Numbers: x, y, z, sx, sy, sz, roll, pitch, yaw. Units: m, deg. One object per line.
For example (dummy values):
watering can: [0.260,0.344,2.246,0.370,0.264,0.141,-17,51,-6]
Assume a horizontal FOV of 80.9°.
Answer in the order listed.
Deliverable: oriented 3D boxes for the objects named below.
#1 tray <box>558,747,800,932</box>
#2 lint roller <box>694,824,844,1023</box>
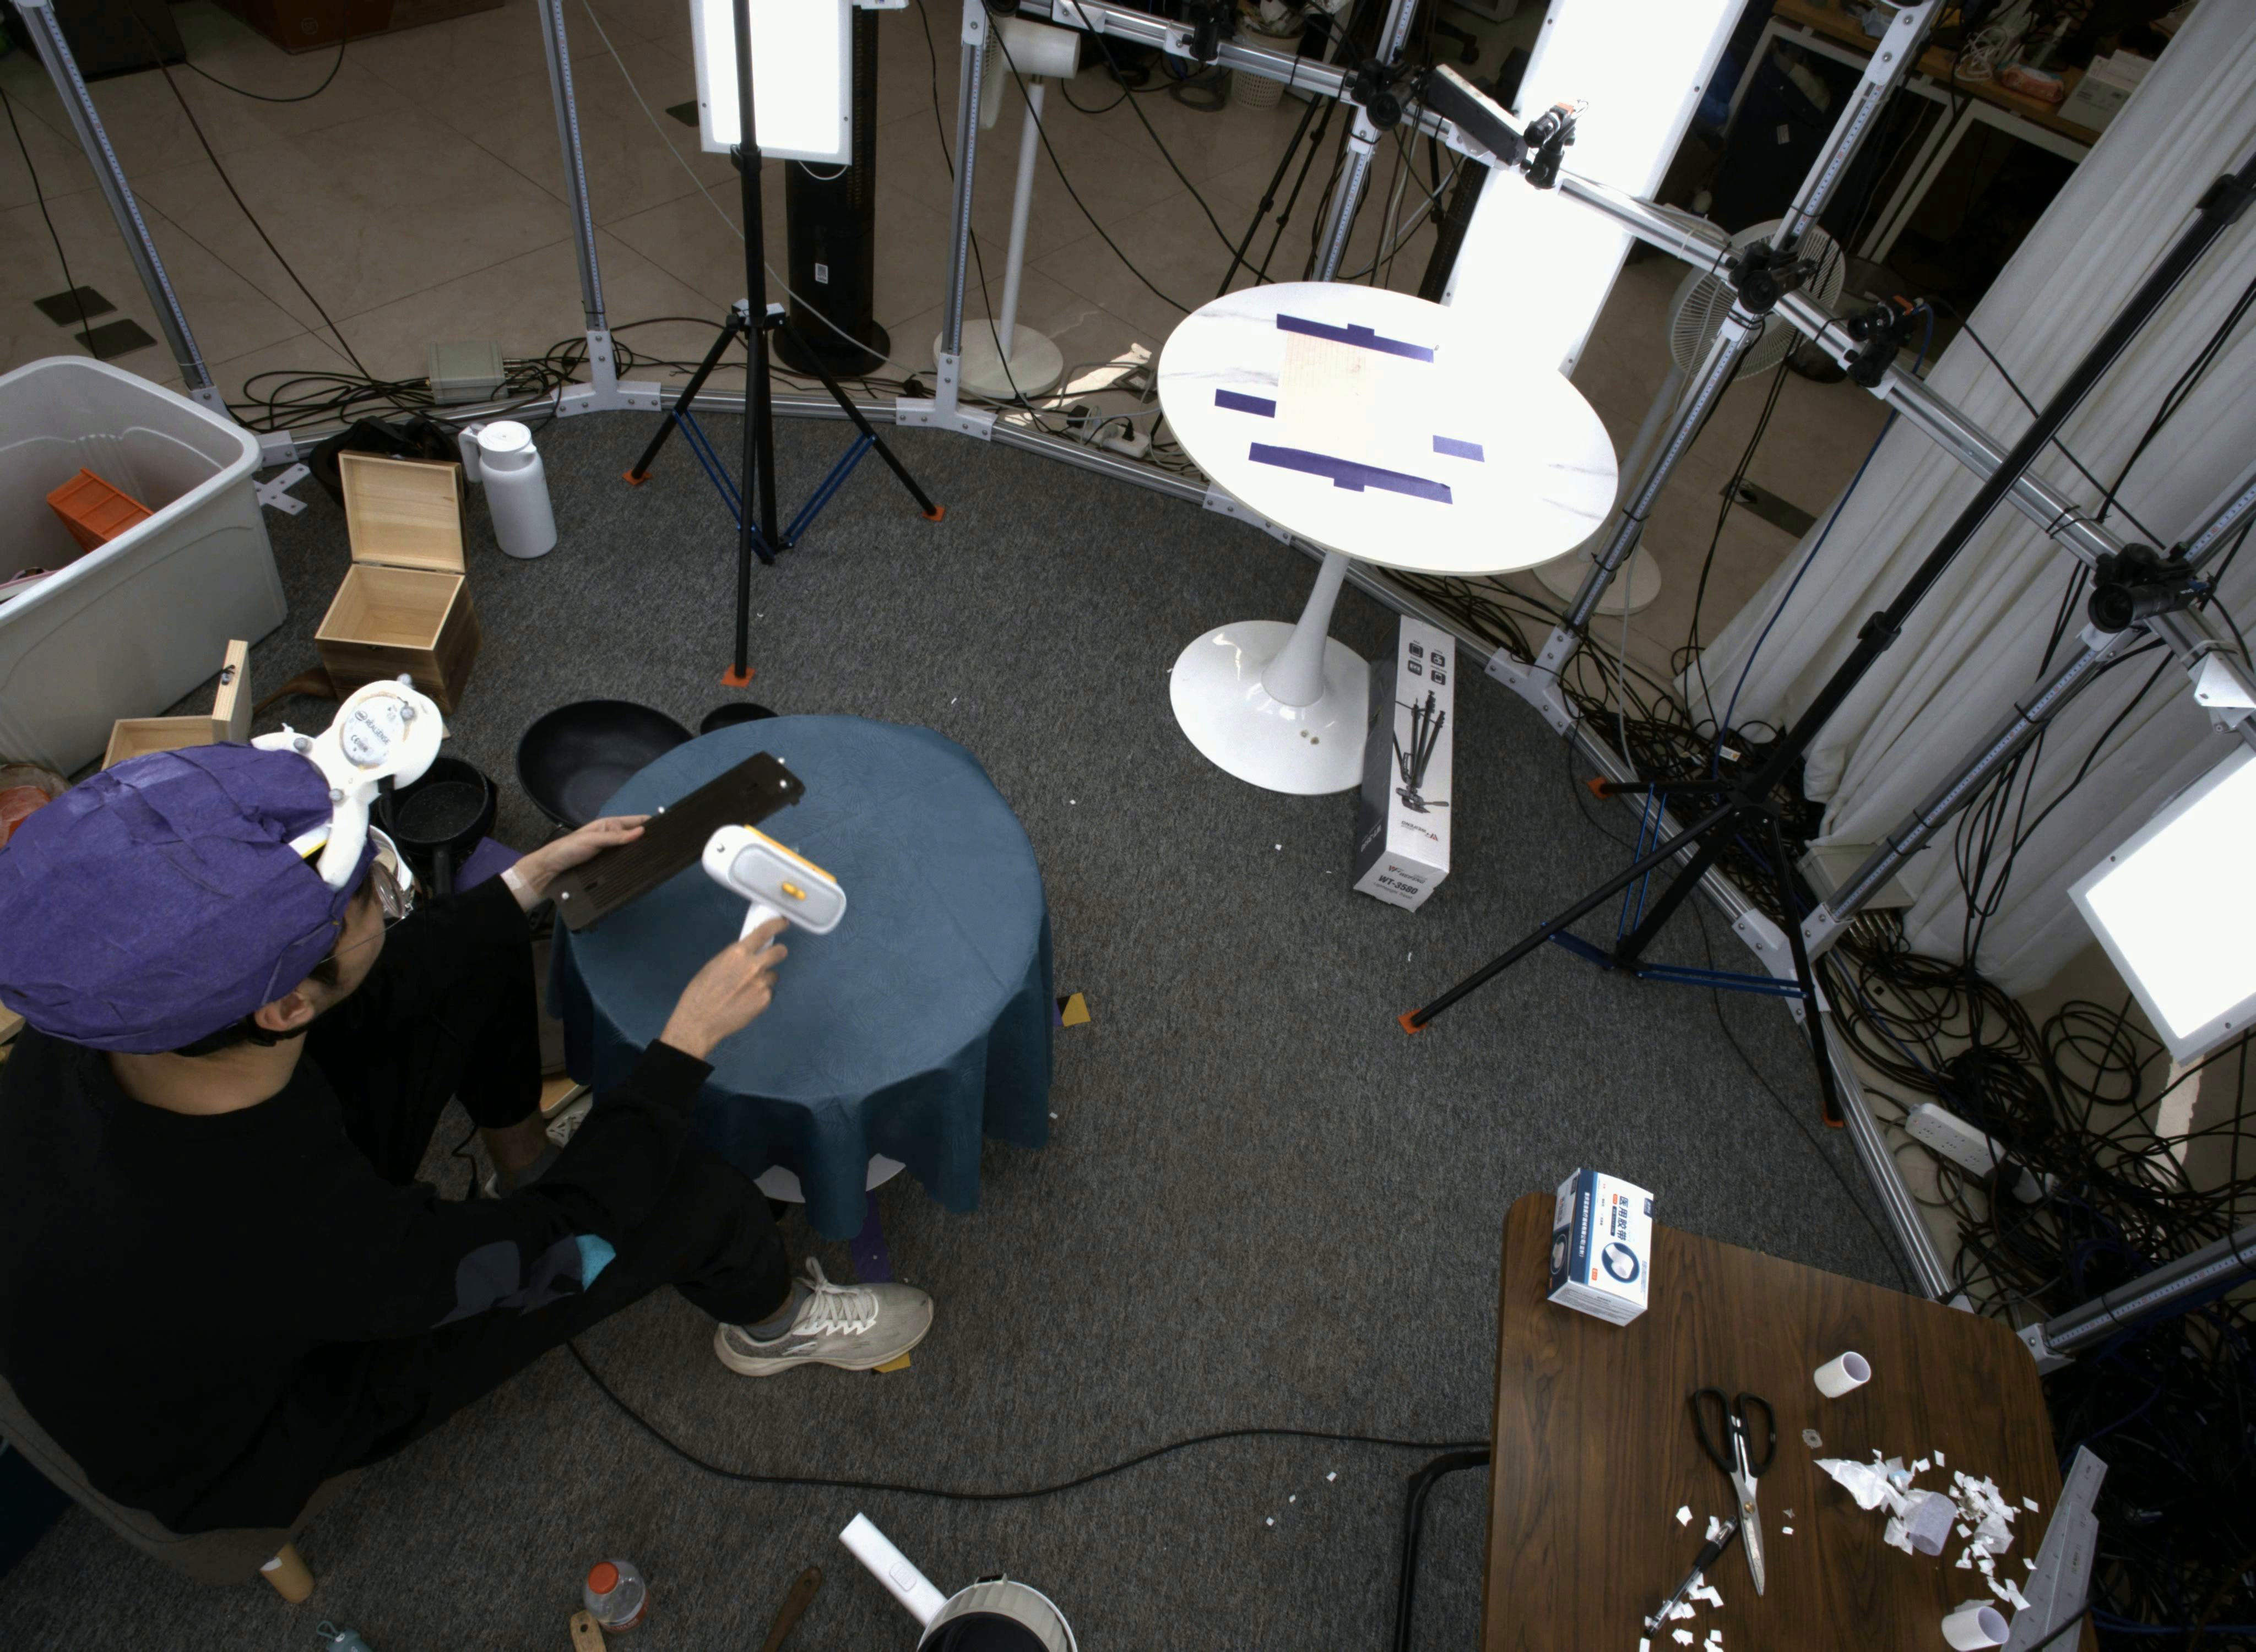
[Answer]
tray: [-0.535,0.011,1.514,0.306,0.019,0.164,-36,33,-19]
lint roller: [-0.409,0.116,1.425,0.071,0.199,0.193,13,76,32]
